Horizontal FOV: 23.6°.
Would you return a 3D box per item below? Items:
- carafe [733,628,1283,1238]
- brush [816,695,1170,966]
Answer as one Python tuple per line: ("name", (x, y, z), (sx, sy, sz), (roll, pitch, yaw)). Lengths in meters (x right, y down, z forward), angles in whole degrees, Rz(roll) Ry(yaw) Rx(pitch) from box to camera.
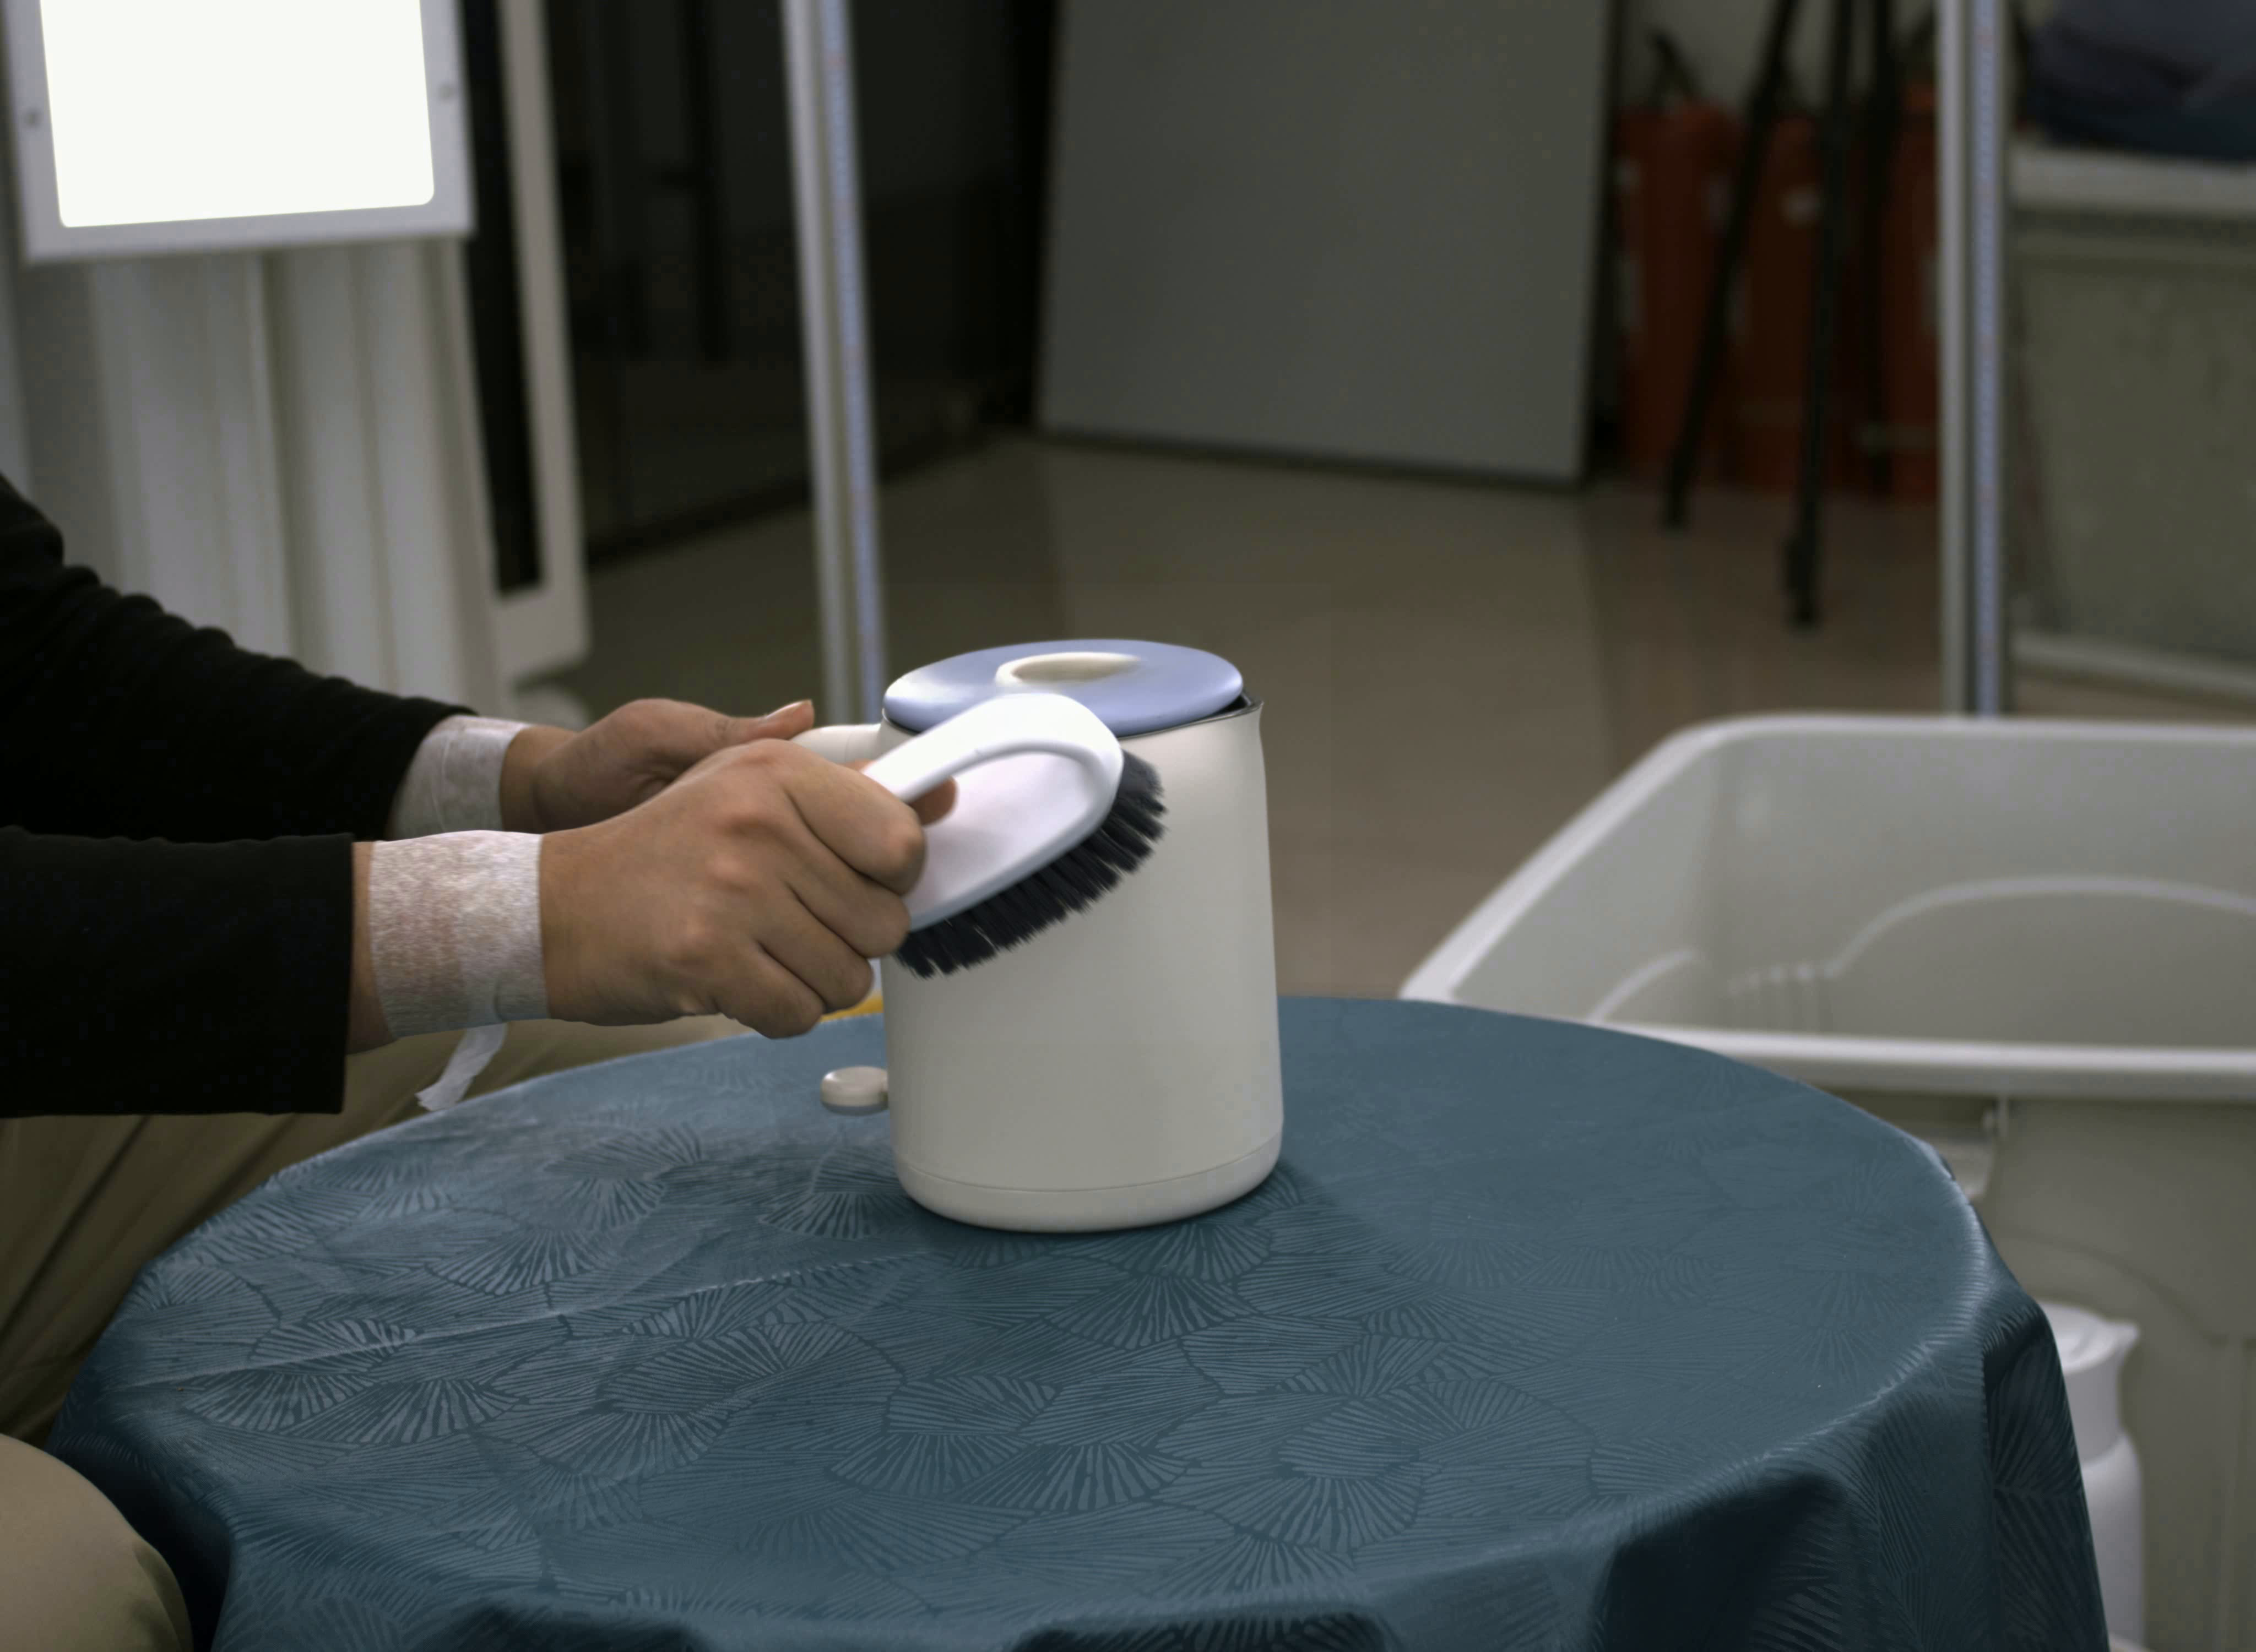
("carafe", (-0.041, 0.034, 1.774), (0.190, 0.184, 0.131), (-1, 13, 19))
("brush", (-0.046, -0.005, 1.584), (0.099, 0.051, 0.071), (-27, -36, 16))
